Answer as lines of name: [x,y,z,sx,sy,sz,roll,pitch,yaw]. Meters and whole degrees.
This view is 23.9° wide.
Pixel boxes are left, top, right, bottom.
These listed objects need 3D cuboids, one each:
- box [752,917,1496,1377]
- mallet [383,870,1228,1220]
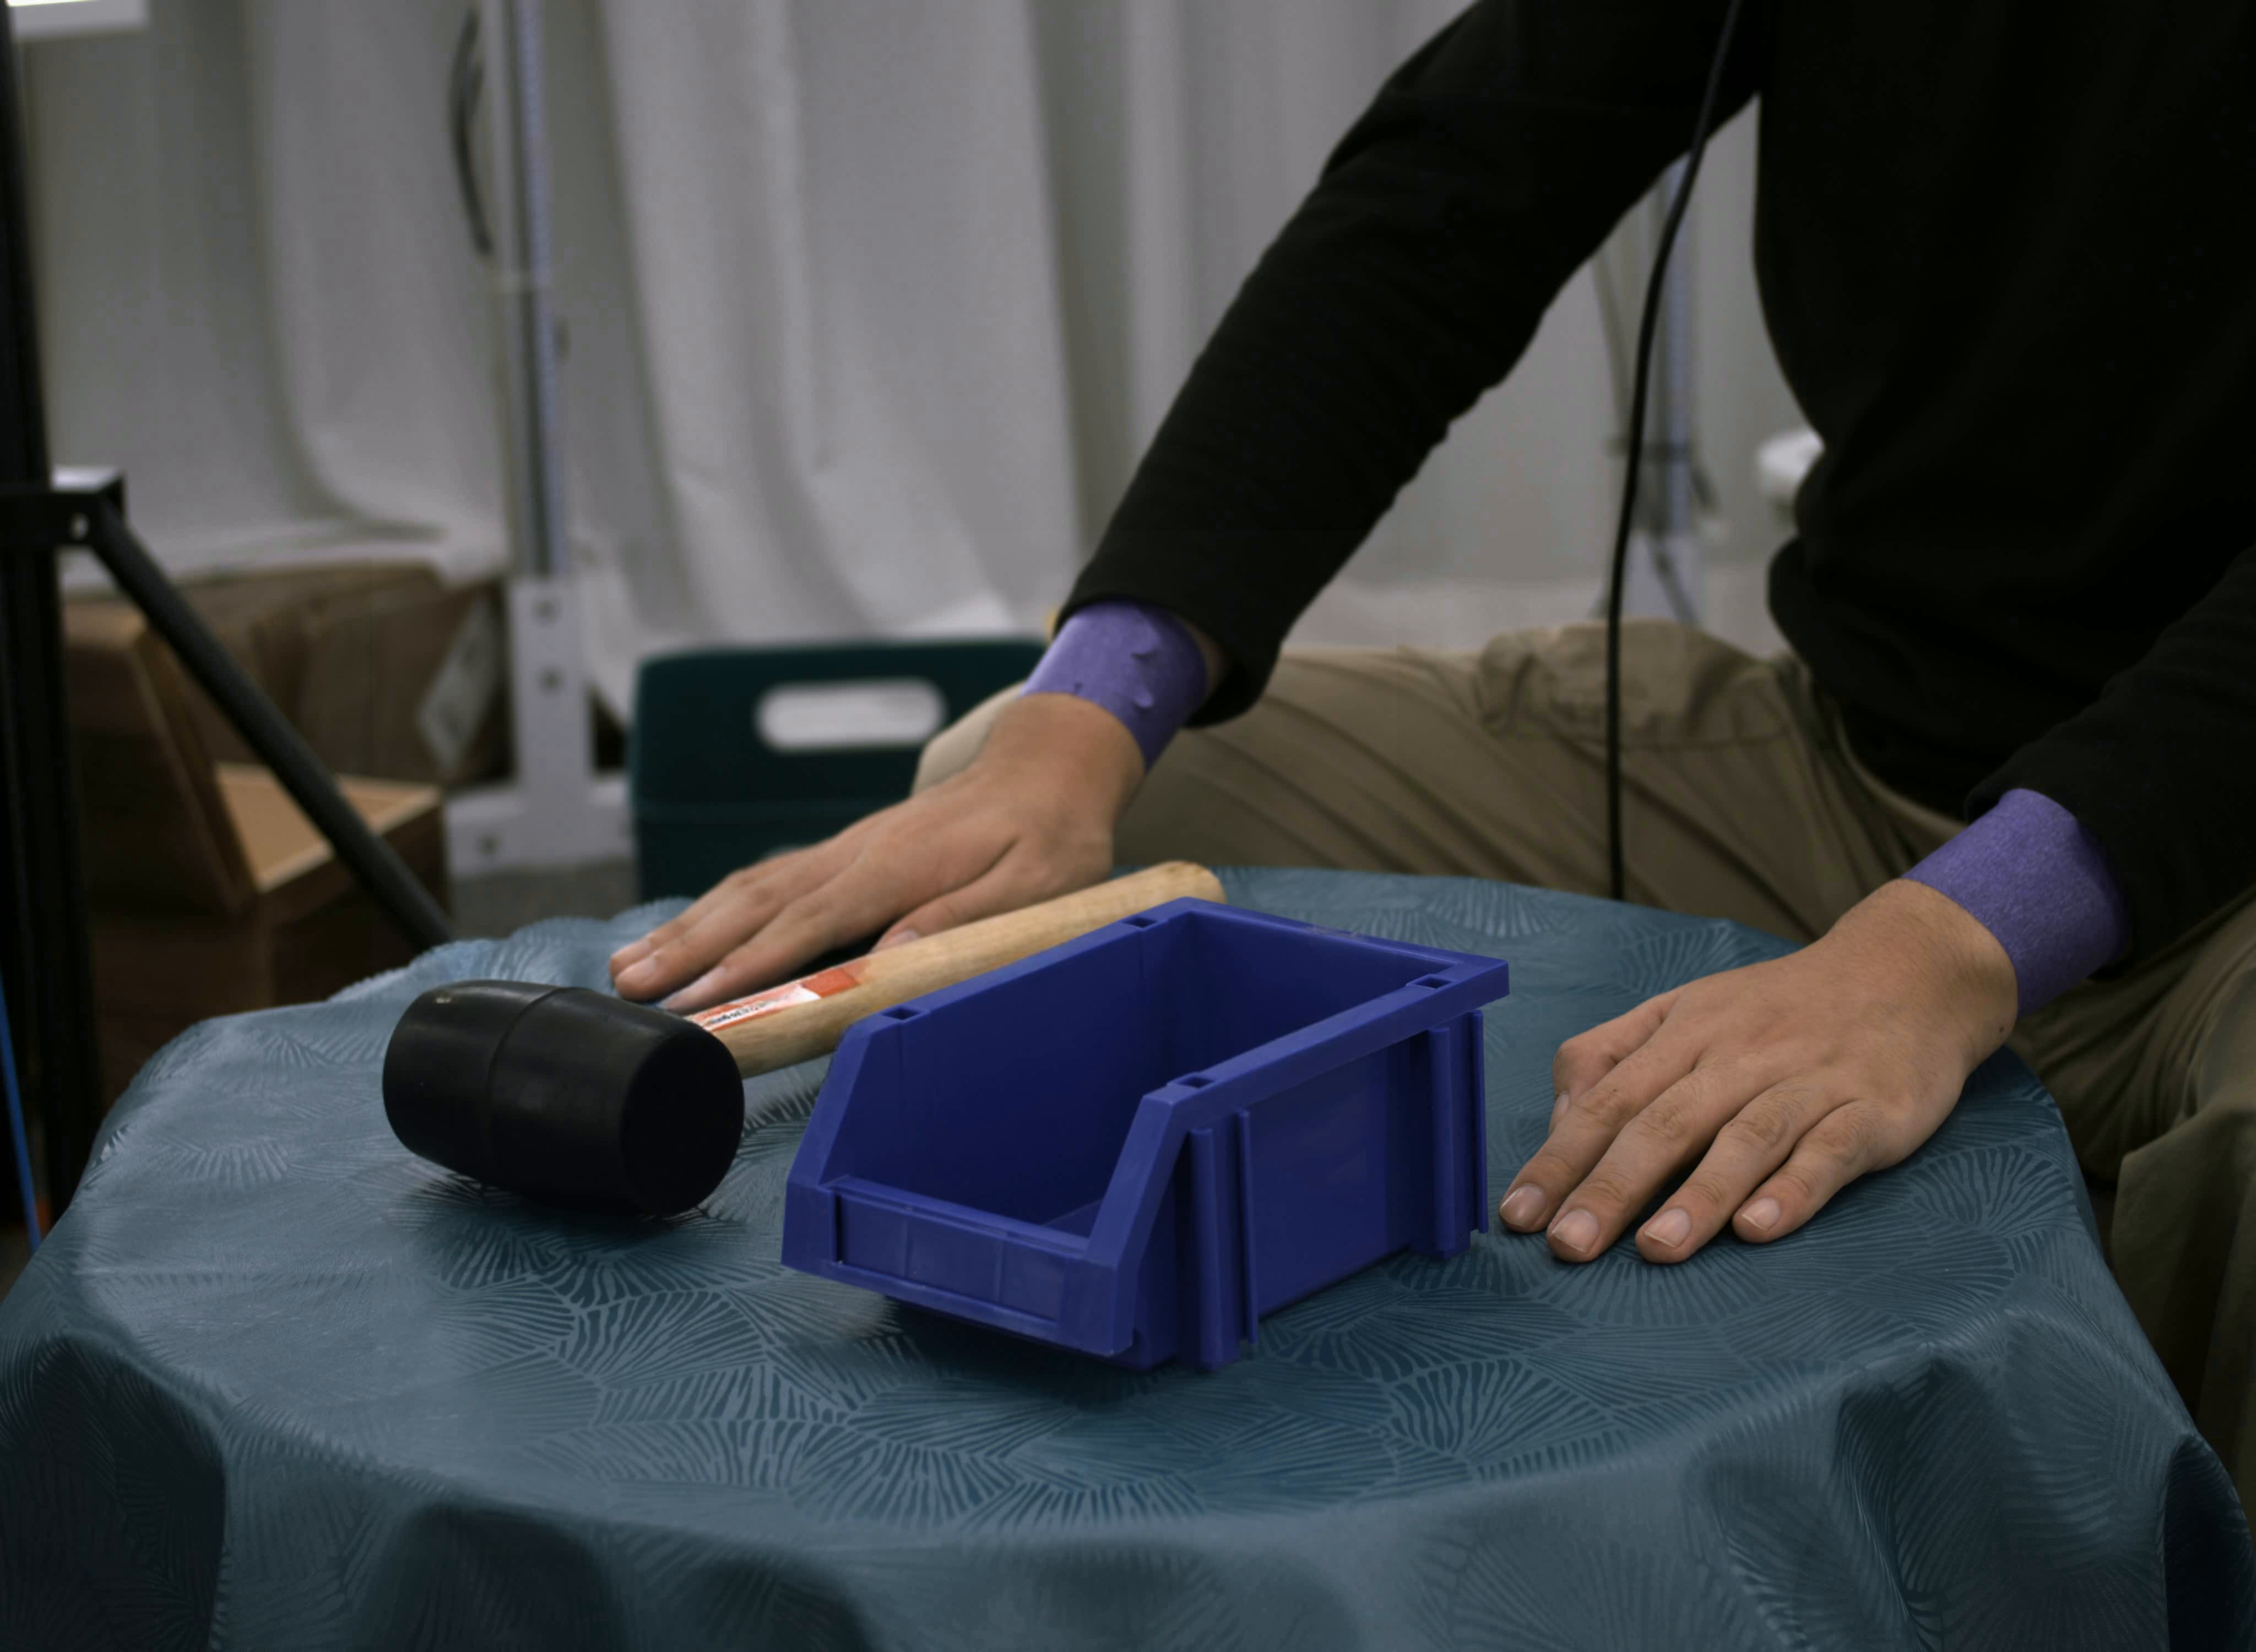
box: [0.002,0.090,1.468,0.127,0.082,0.175,12,18,41]
mallet: [-0.082,0.049,1.668,0.104,0.064,0.331,13,21,37]
